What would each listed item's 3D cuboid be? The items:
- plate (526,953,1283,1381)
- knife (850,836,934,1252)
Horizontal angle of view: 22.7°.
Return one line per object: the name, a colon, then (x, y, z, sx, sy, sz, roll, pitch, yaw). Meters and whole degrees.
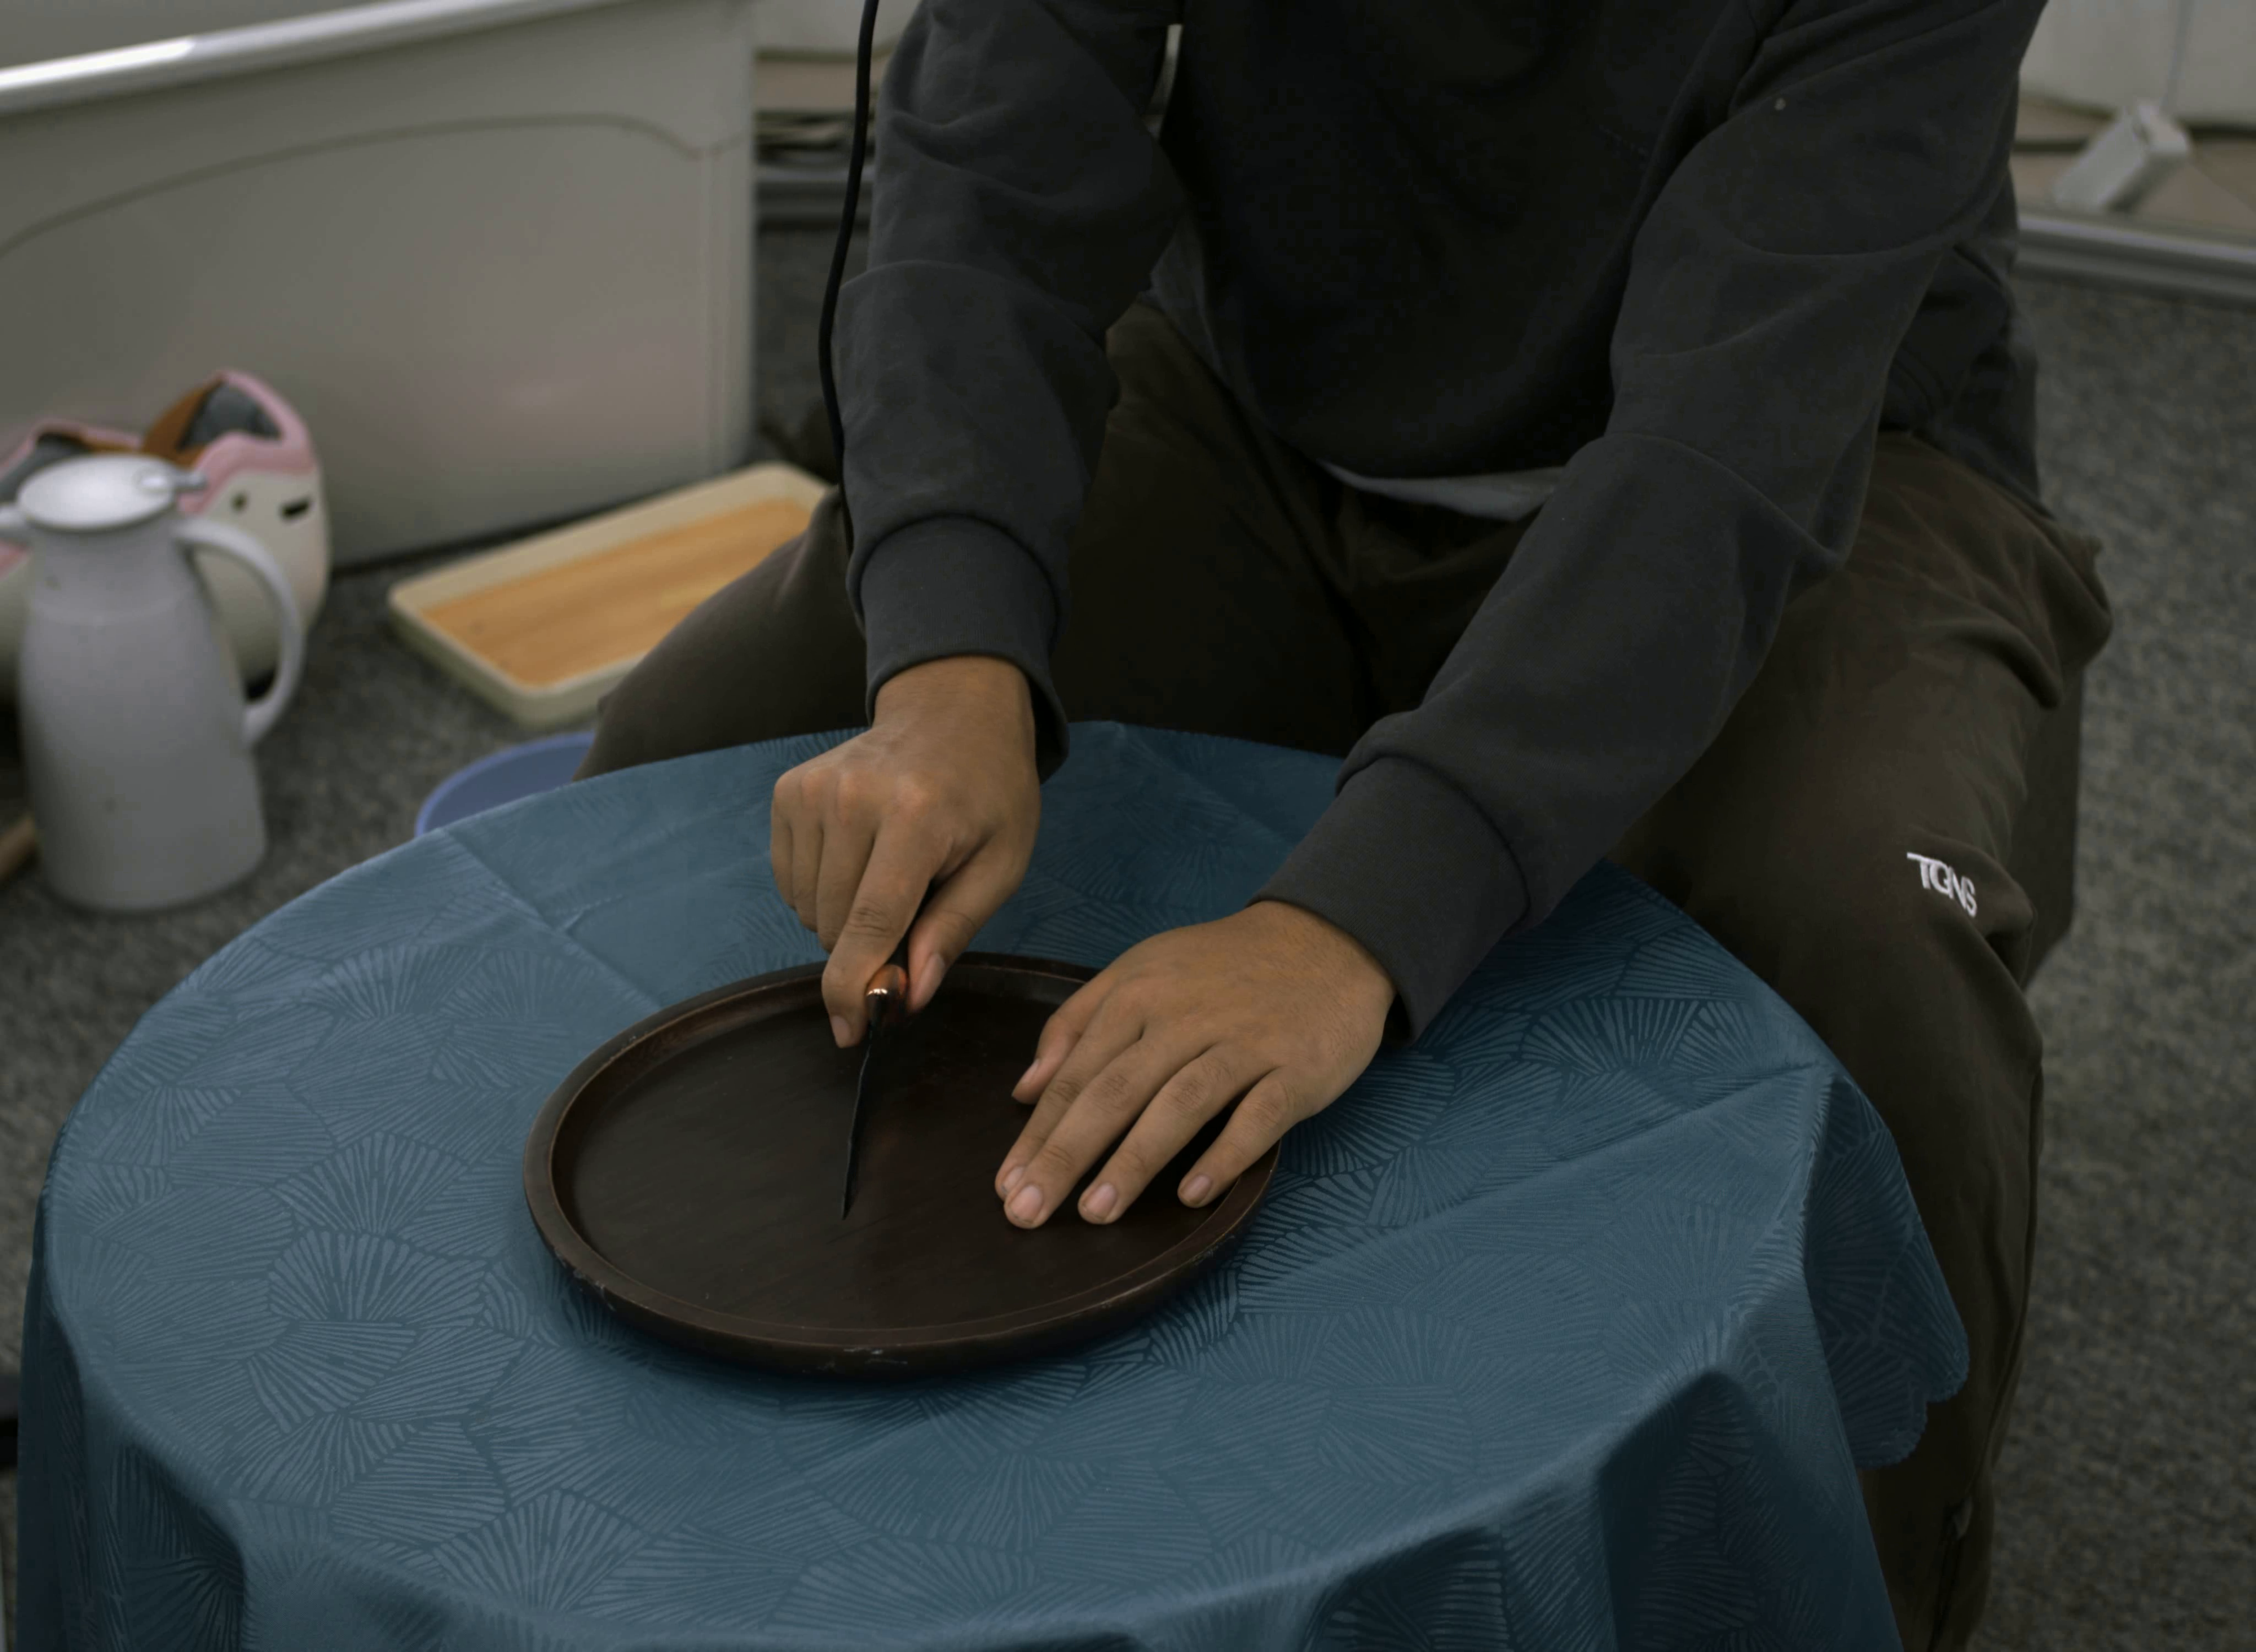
plate: (-0.074, 0.112, 1.866, 0.253, 0.029, 0.258, -3, 26, 2)
knife: (-0.082, 0.071, 1.899, 0.017, 0.026, 0.229, -8, 31, 9)
